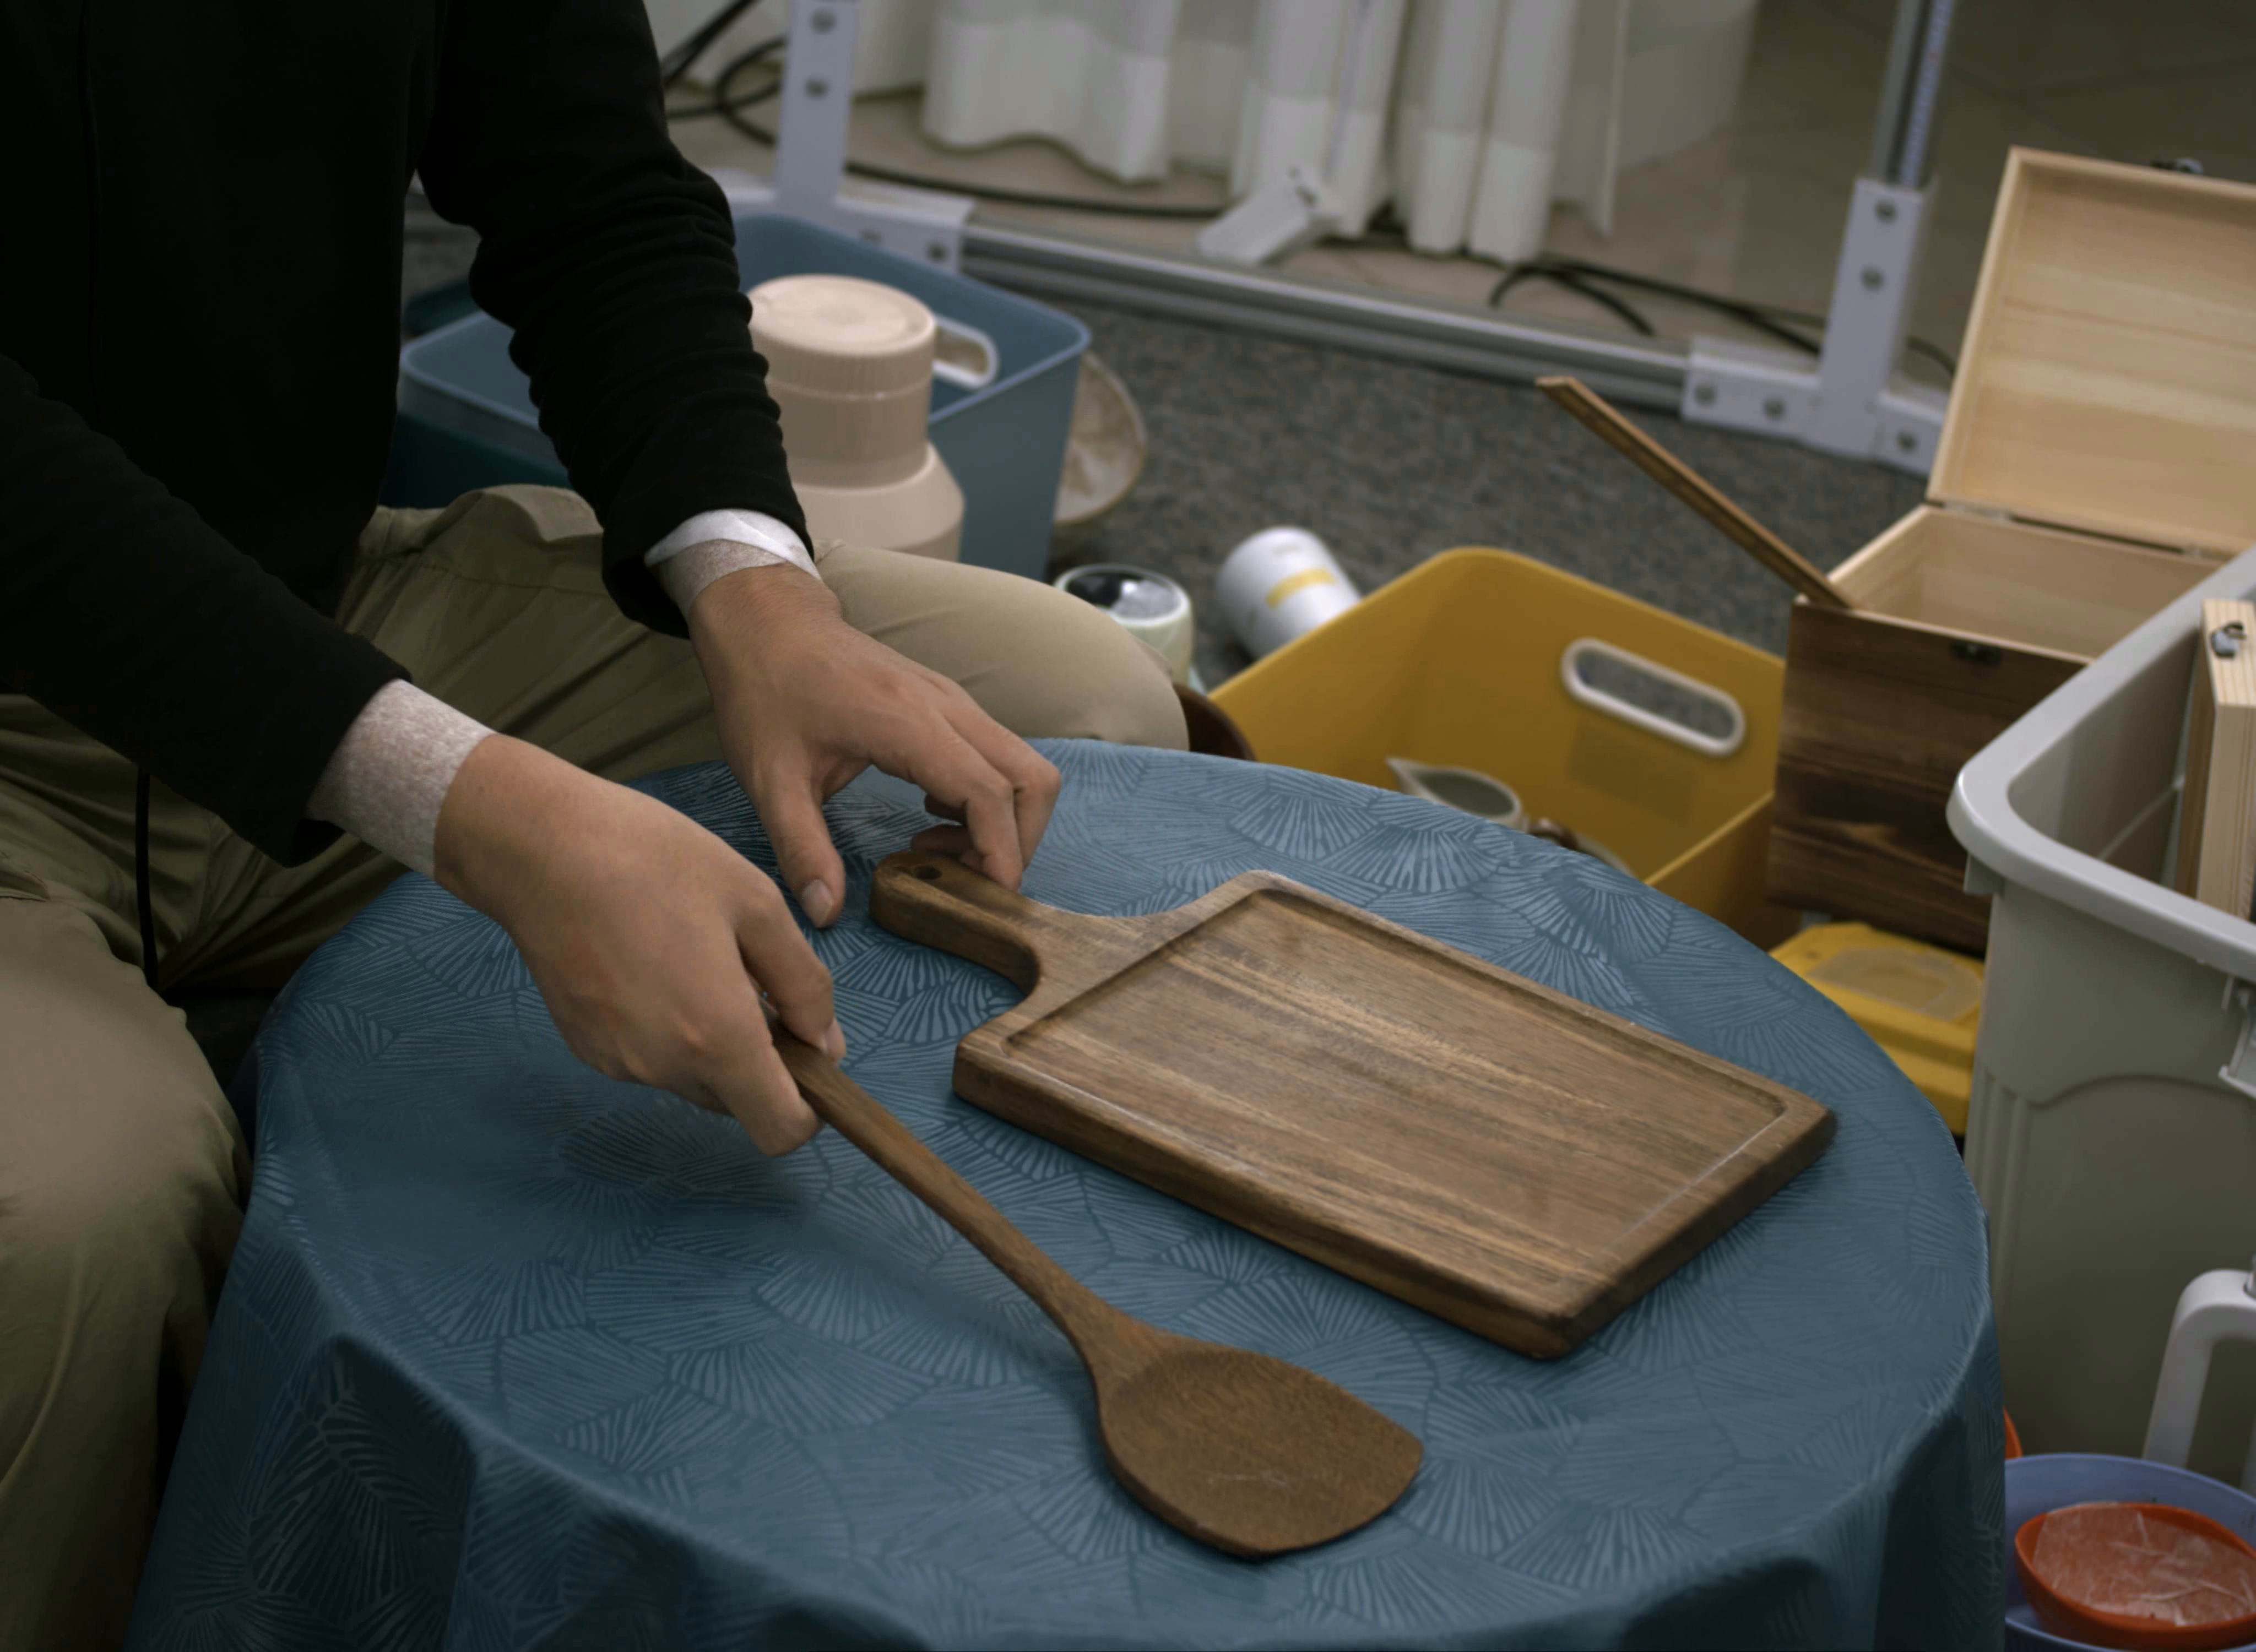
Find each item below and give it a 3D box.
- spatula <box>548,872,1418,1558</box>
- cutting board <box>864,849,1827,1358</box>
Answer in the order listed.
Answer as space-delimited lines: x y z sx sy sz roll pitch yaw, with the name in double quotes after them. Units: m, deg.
-0.064 0.117 1.733 0.095 0.016 0.389 -21 47 -42 "spatula"
0.052 0.078 1.880 0.354 0.023 0.200 22 31 28 "cutting board"
